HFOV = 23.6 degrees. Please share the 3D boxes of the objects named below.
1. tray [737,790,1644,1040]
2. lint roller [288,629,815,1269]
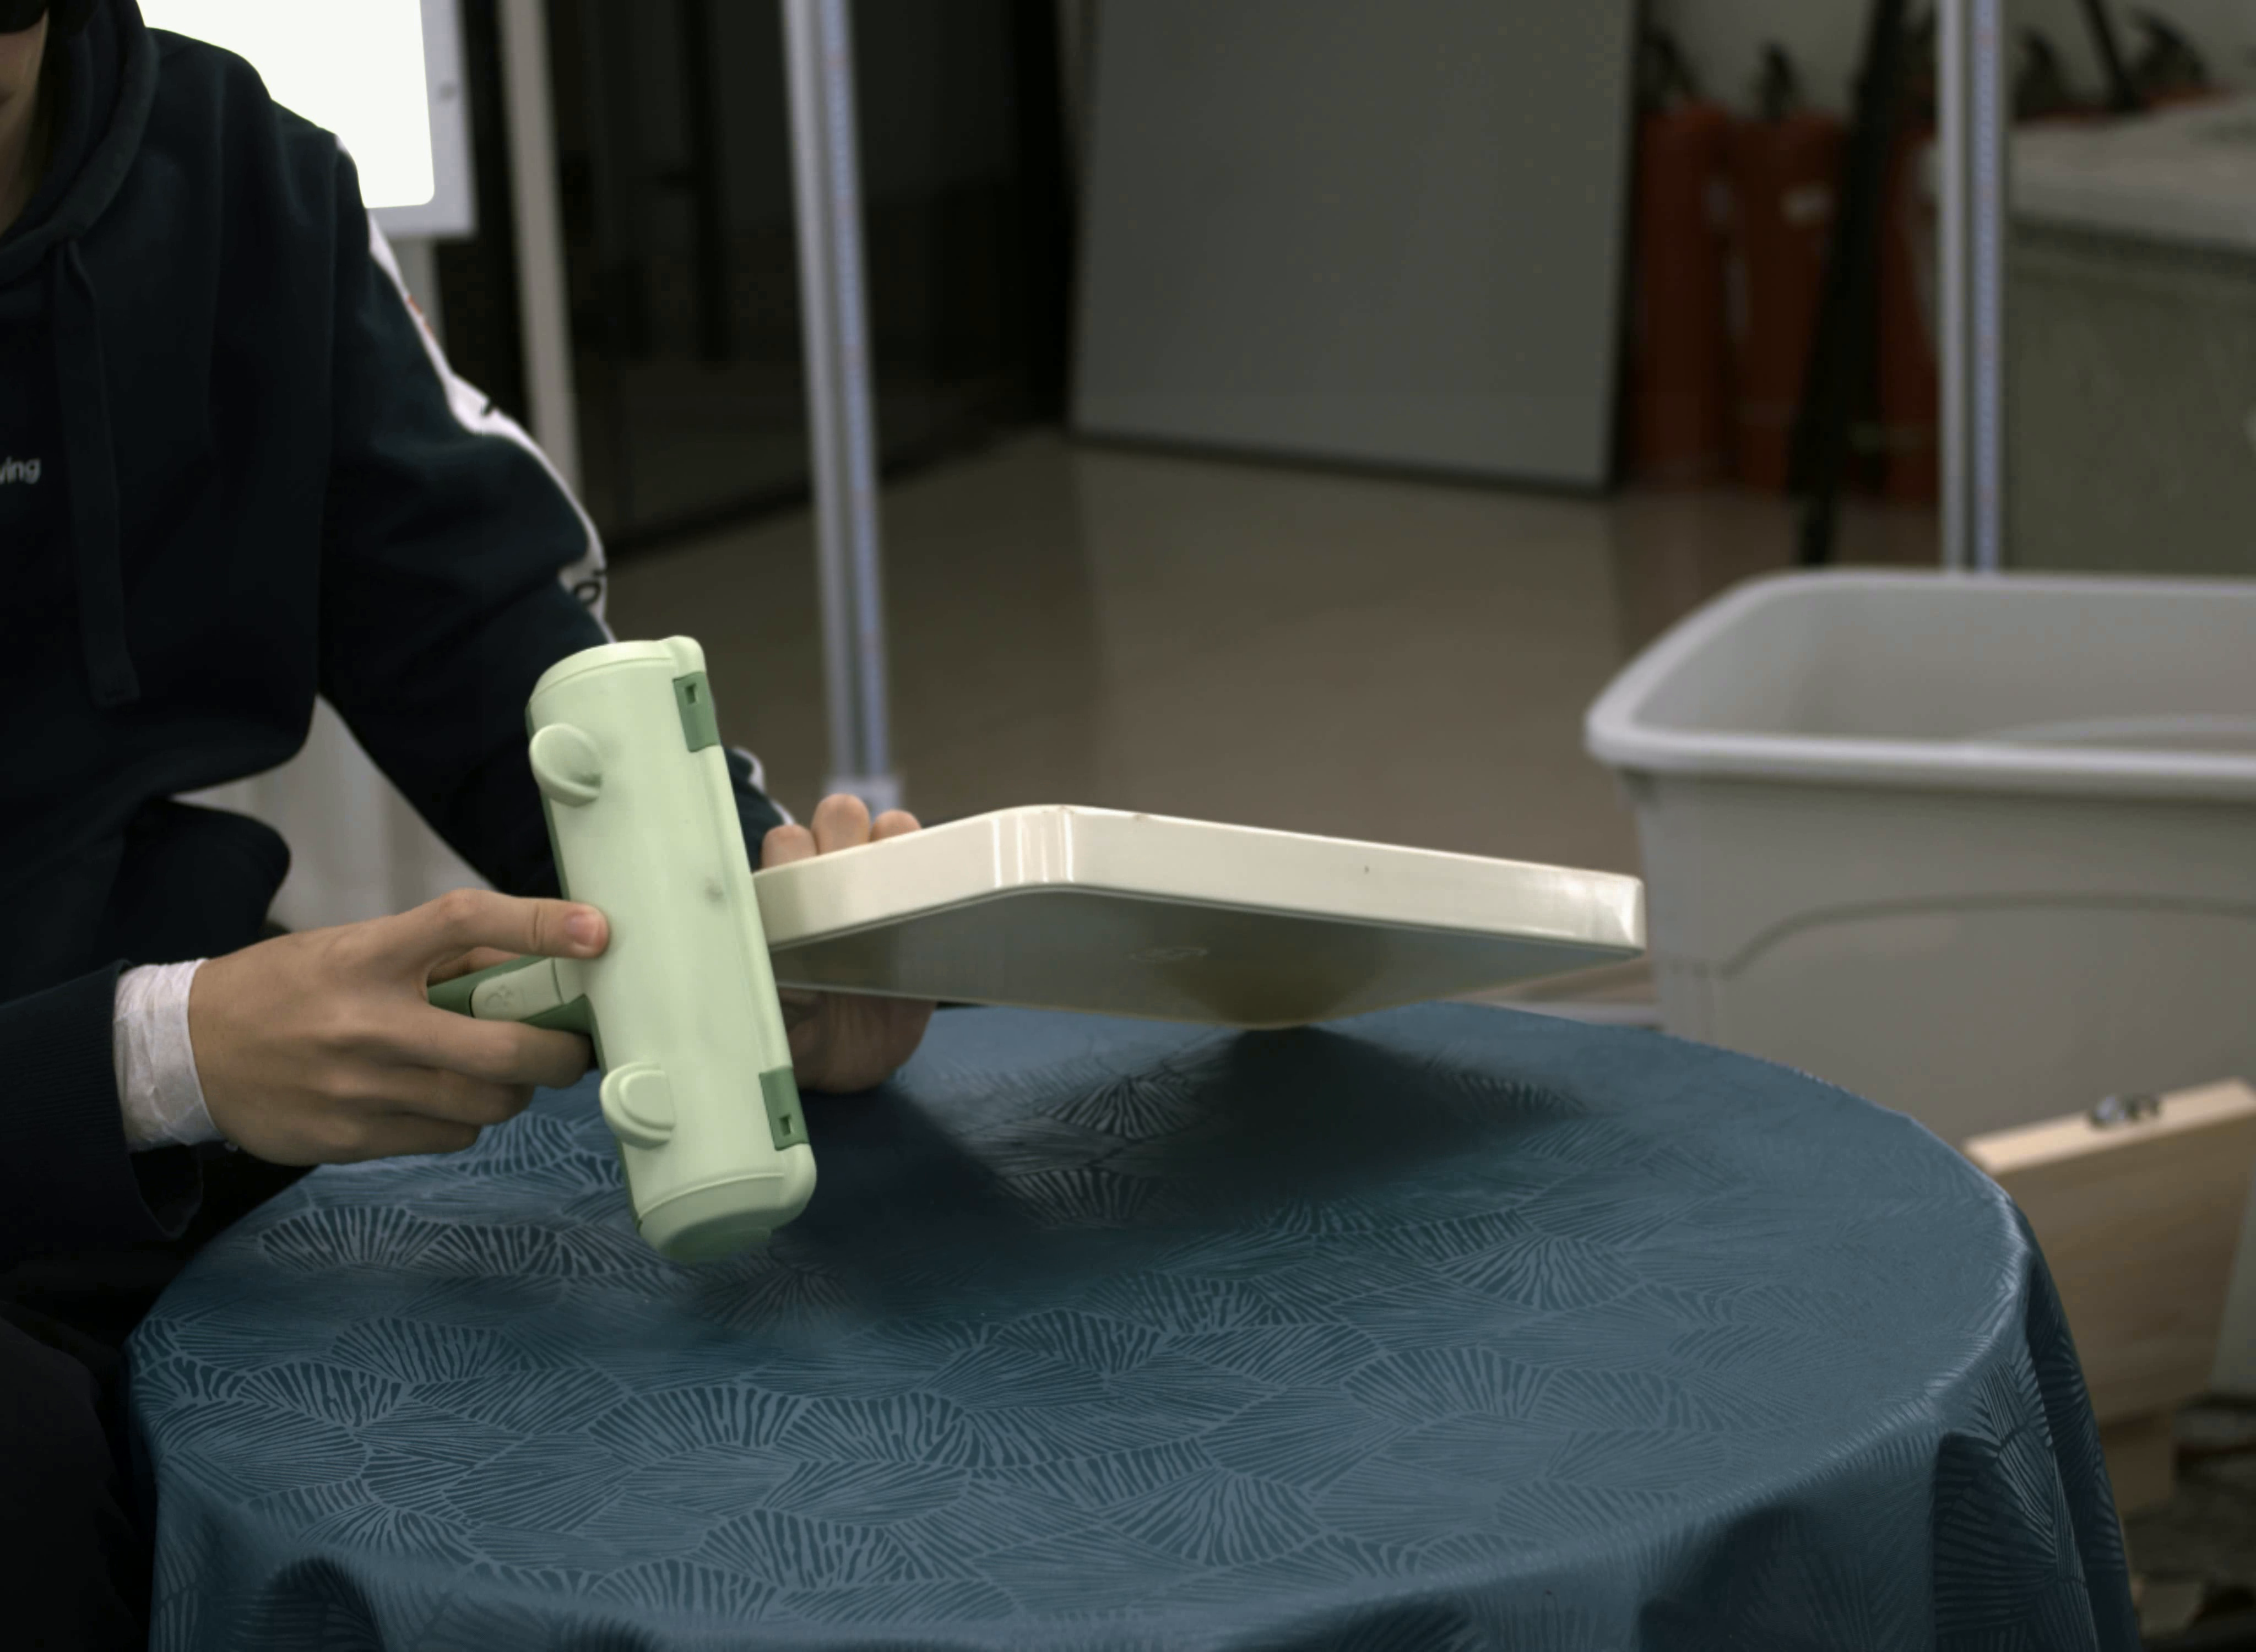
[{"bbox_3d":[0.012,0.034,1.786,0.293,0.028,0.193,8,-17,-43],"label":"tray"},{"bbox_3d":[-0.198,0.054,1.708,0.183,0.201,0.081,-19,-20,15],"label":"lint roller"}]
